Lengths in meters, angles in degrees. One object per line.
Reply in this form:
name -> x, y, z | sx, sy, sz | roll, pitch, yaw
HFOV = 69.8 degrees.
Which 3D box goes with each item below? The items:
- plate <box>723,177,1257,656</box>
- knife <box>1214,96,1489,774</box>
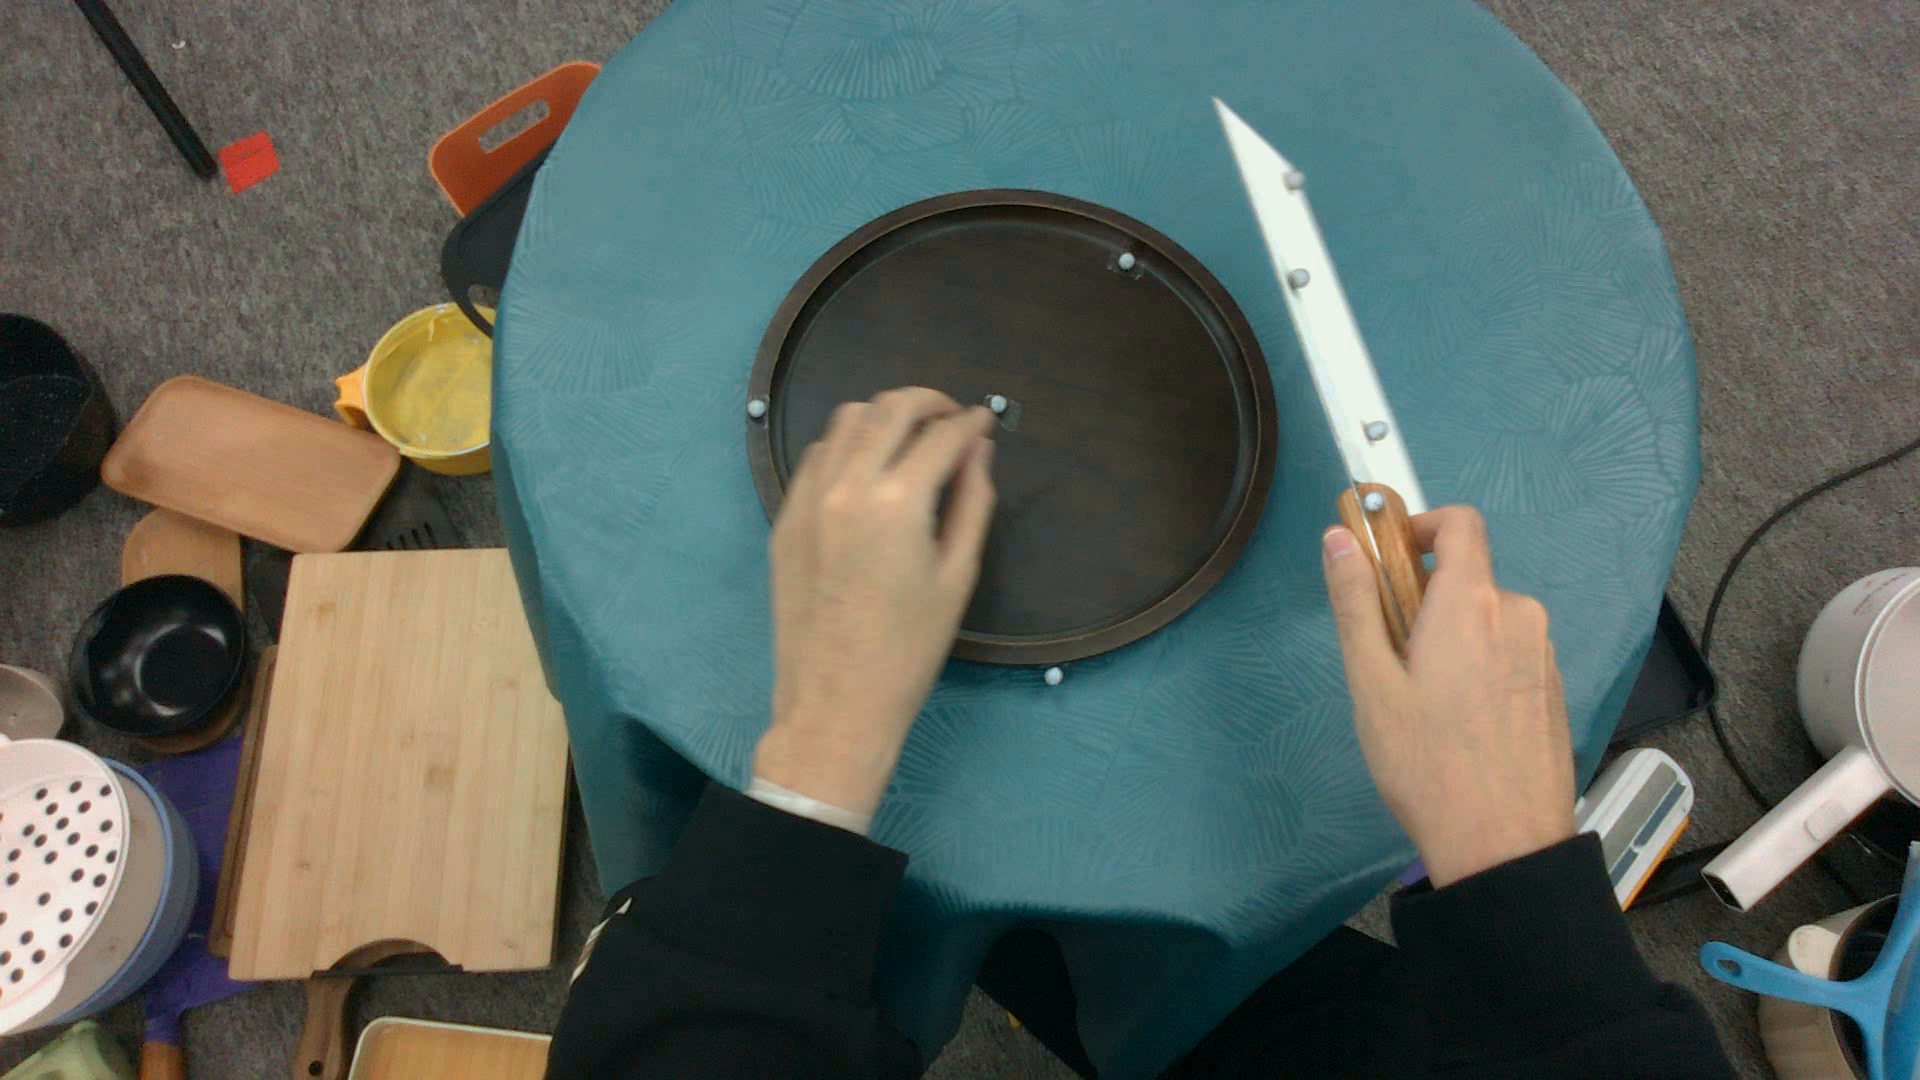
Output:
plate -> 0.015, -0.065, 0.658 | 0.255, 0.029, 0.255 | 1, 67, -1
knife -> 0.170, -0.051, 0.586 | 0.021, 0.093, 0.306 | -25, 69, 32
